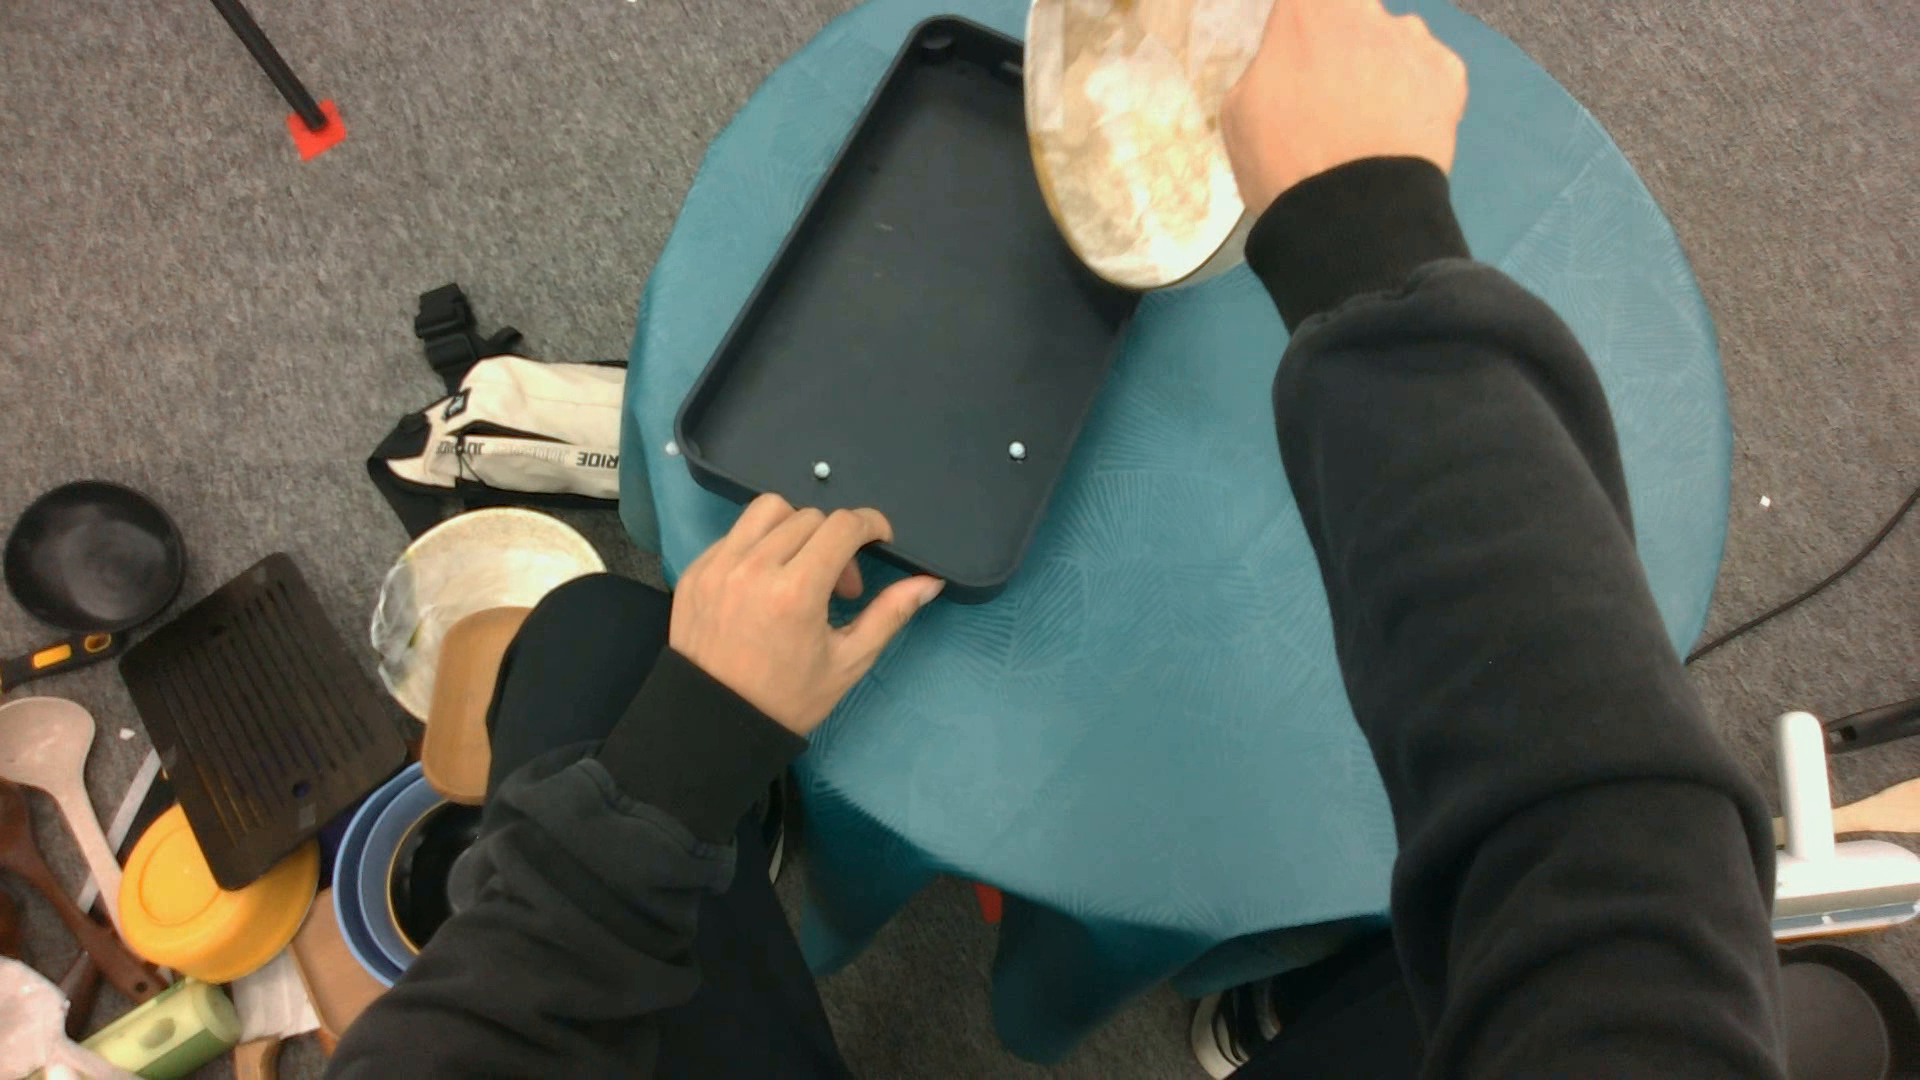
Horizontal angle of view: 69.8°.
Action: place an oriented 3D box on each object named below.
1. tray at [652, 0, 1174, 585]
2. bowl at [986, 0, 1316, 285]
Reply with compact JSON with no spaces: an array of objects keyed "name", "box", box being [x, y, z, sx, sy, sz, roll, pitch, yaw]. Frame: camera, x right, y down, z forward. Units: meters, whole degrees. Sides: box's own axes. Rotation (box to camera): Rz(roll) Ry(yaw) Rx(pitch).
[{"name":"tray","box":[-0.009,-0.143,0.727,0.184,0.037,0.319,25,67,3]},{"name":"bowl","box":[0.105,-0.226,0.679,0.095,0.213,0.215,-8,71,-31]}]
